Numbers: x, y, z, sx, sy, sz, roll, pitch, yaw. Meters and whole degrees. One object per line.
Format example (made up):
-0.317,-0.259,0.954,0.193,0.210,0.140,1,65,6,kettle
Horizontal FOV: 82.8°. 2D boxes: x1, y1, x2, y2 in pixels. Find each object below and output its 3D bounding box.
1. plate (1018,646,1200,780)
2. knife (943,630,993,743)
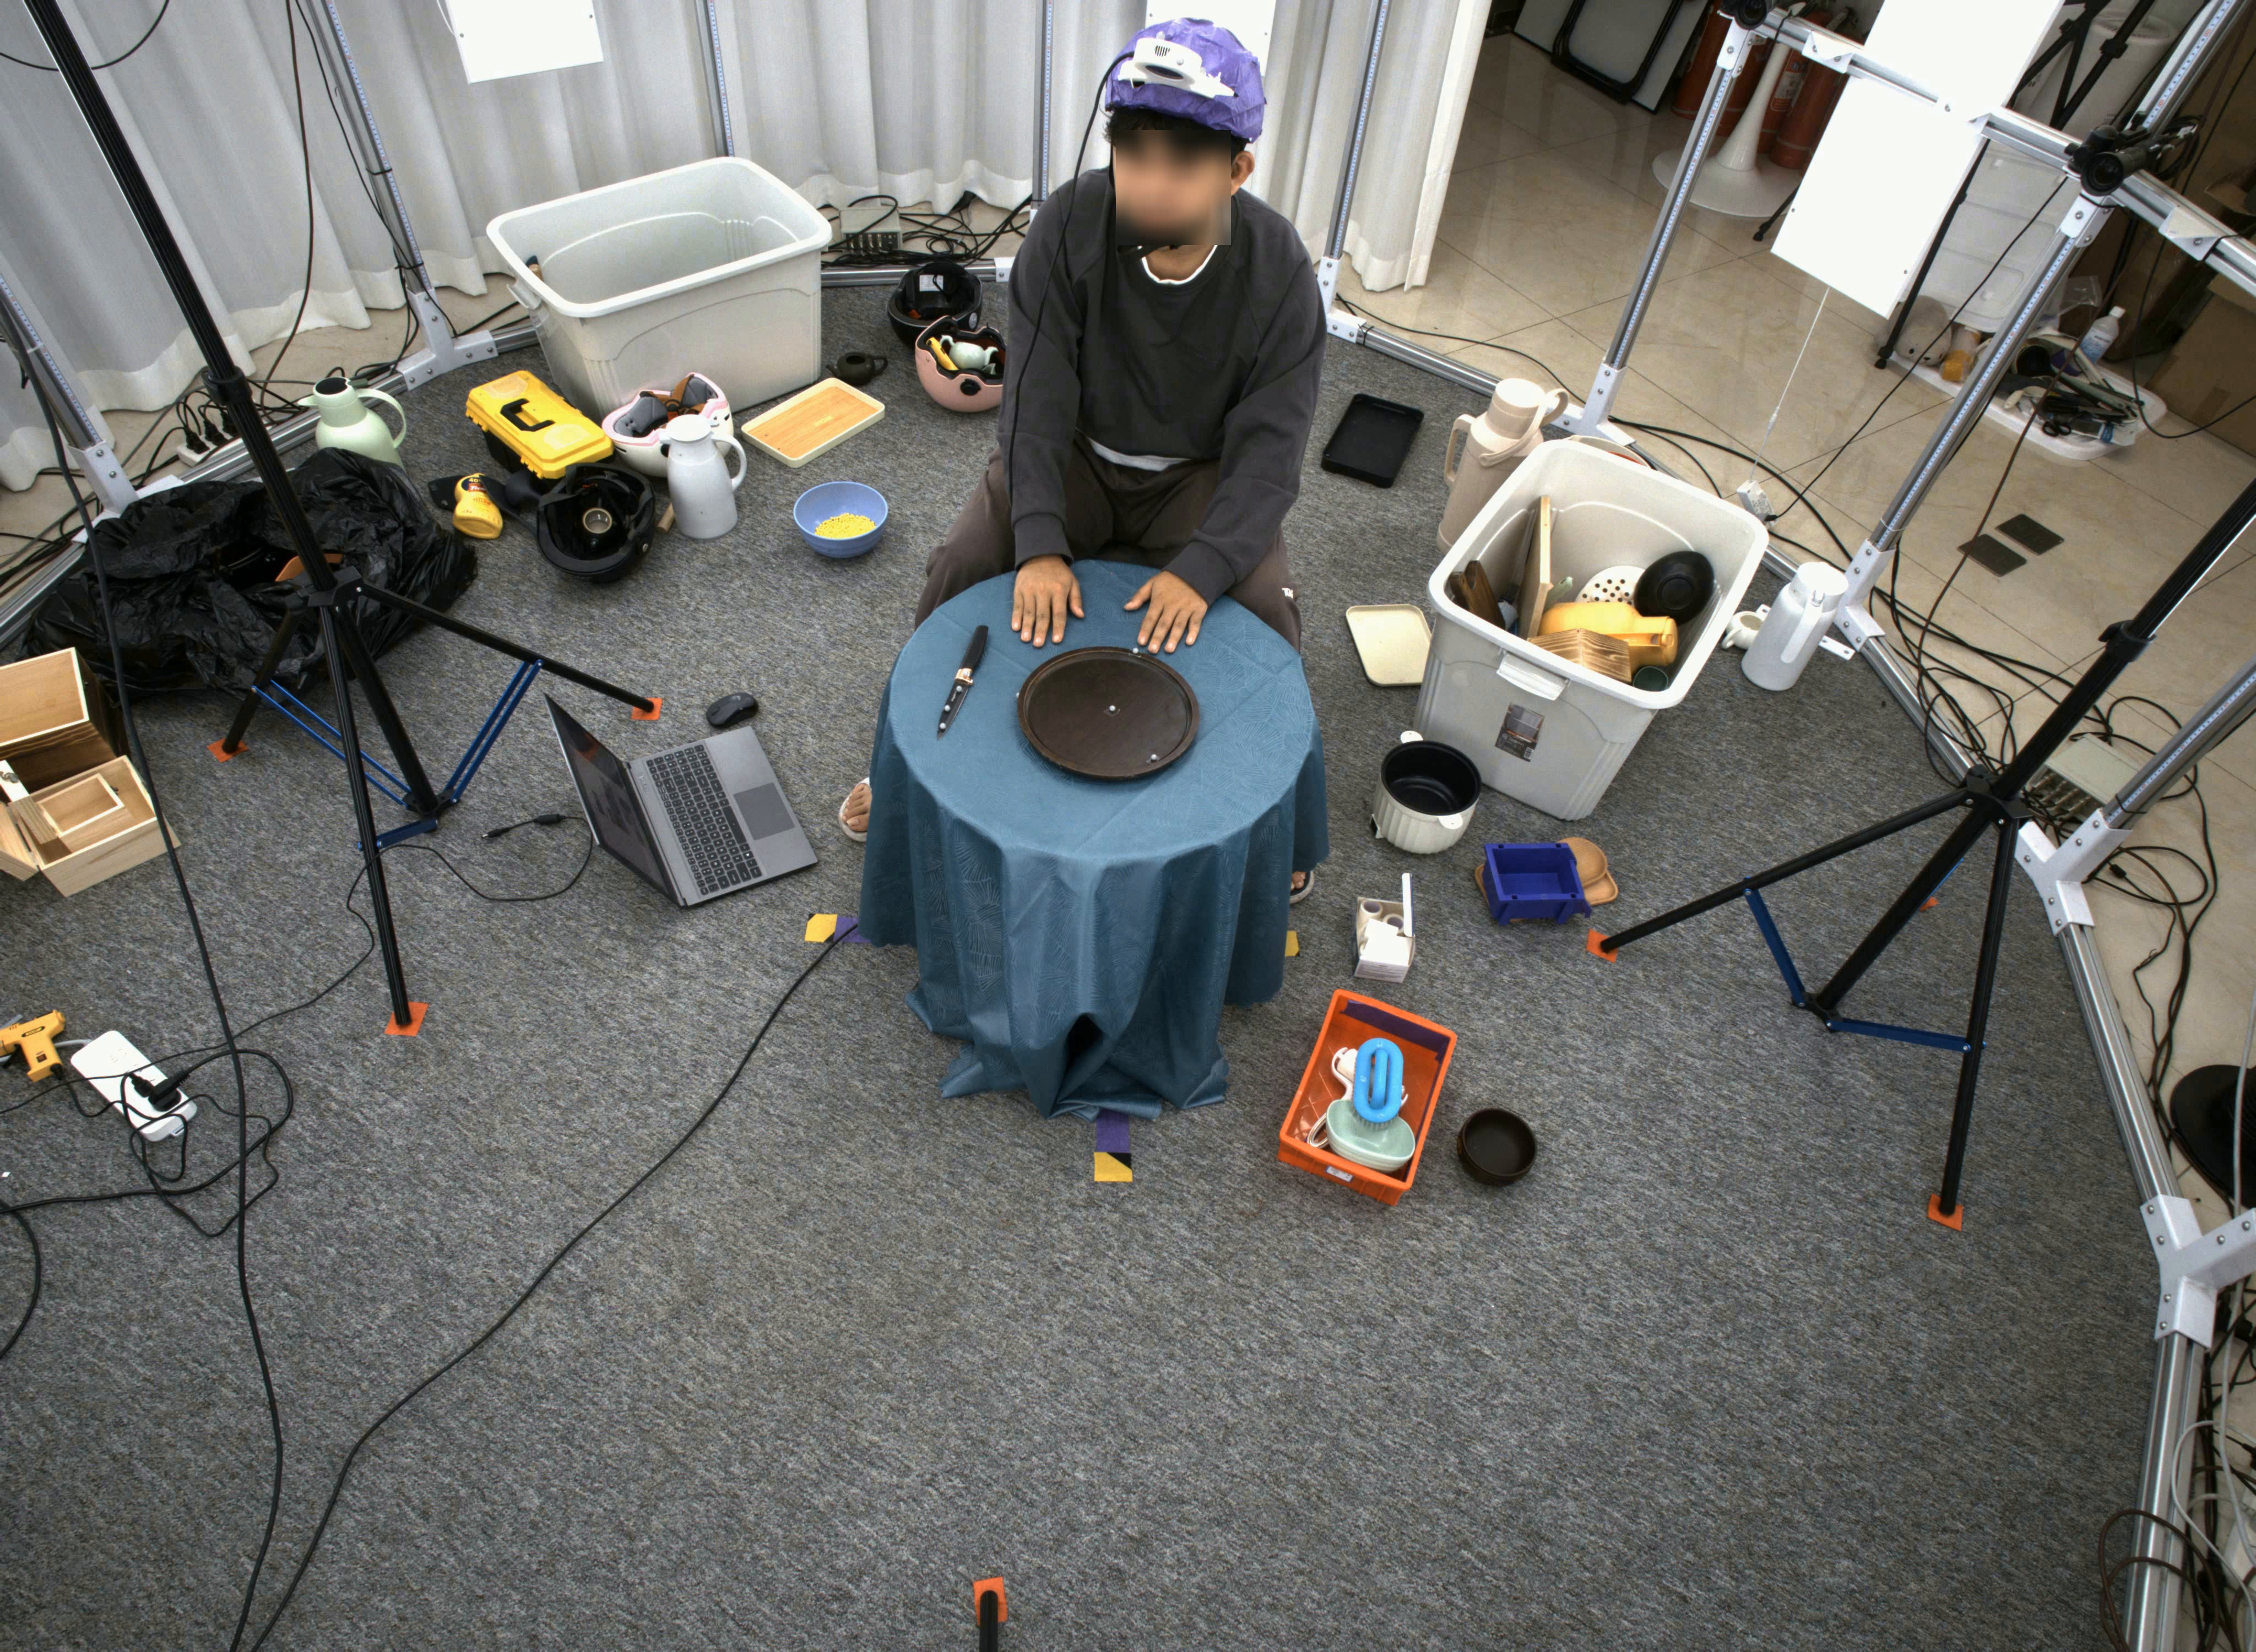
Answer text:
-0.026,-0.159,1.786,0.254,0.028,0.261,2,48,-2,plate
-0.229,-0.200,1.815,0.026,0.017,0.230,15,50,1,knife
